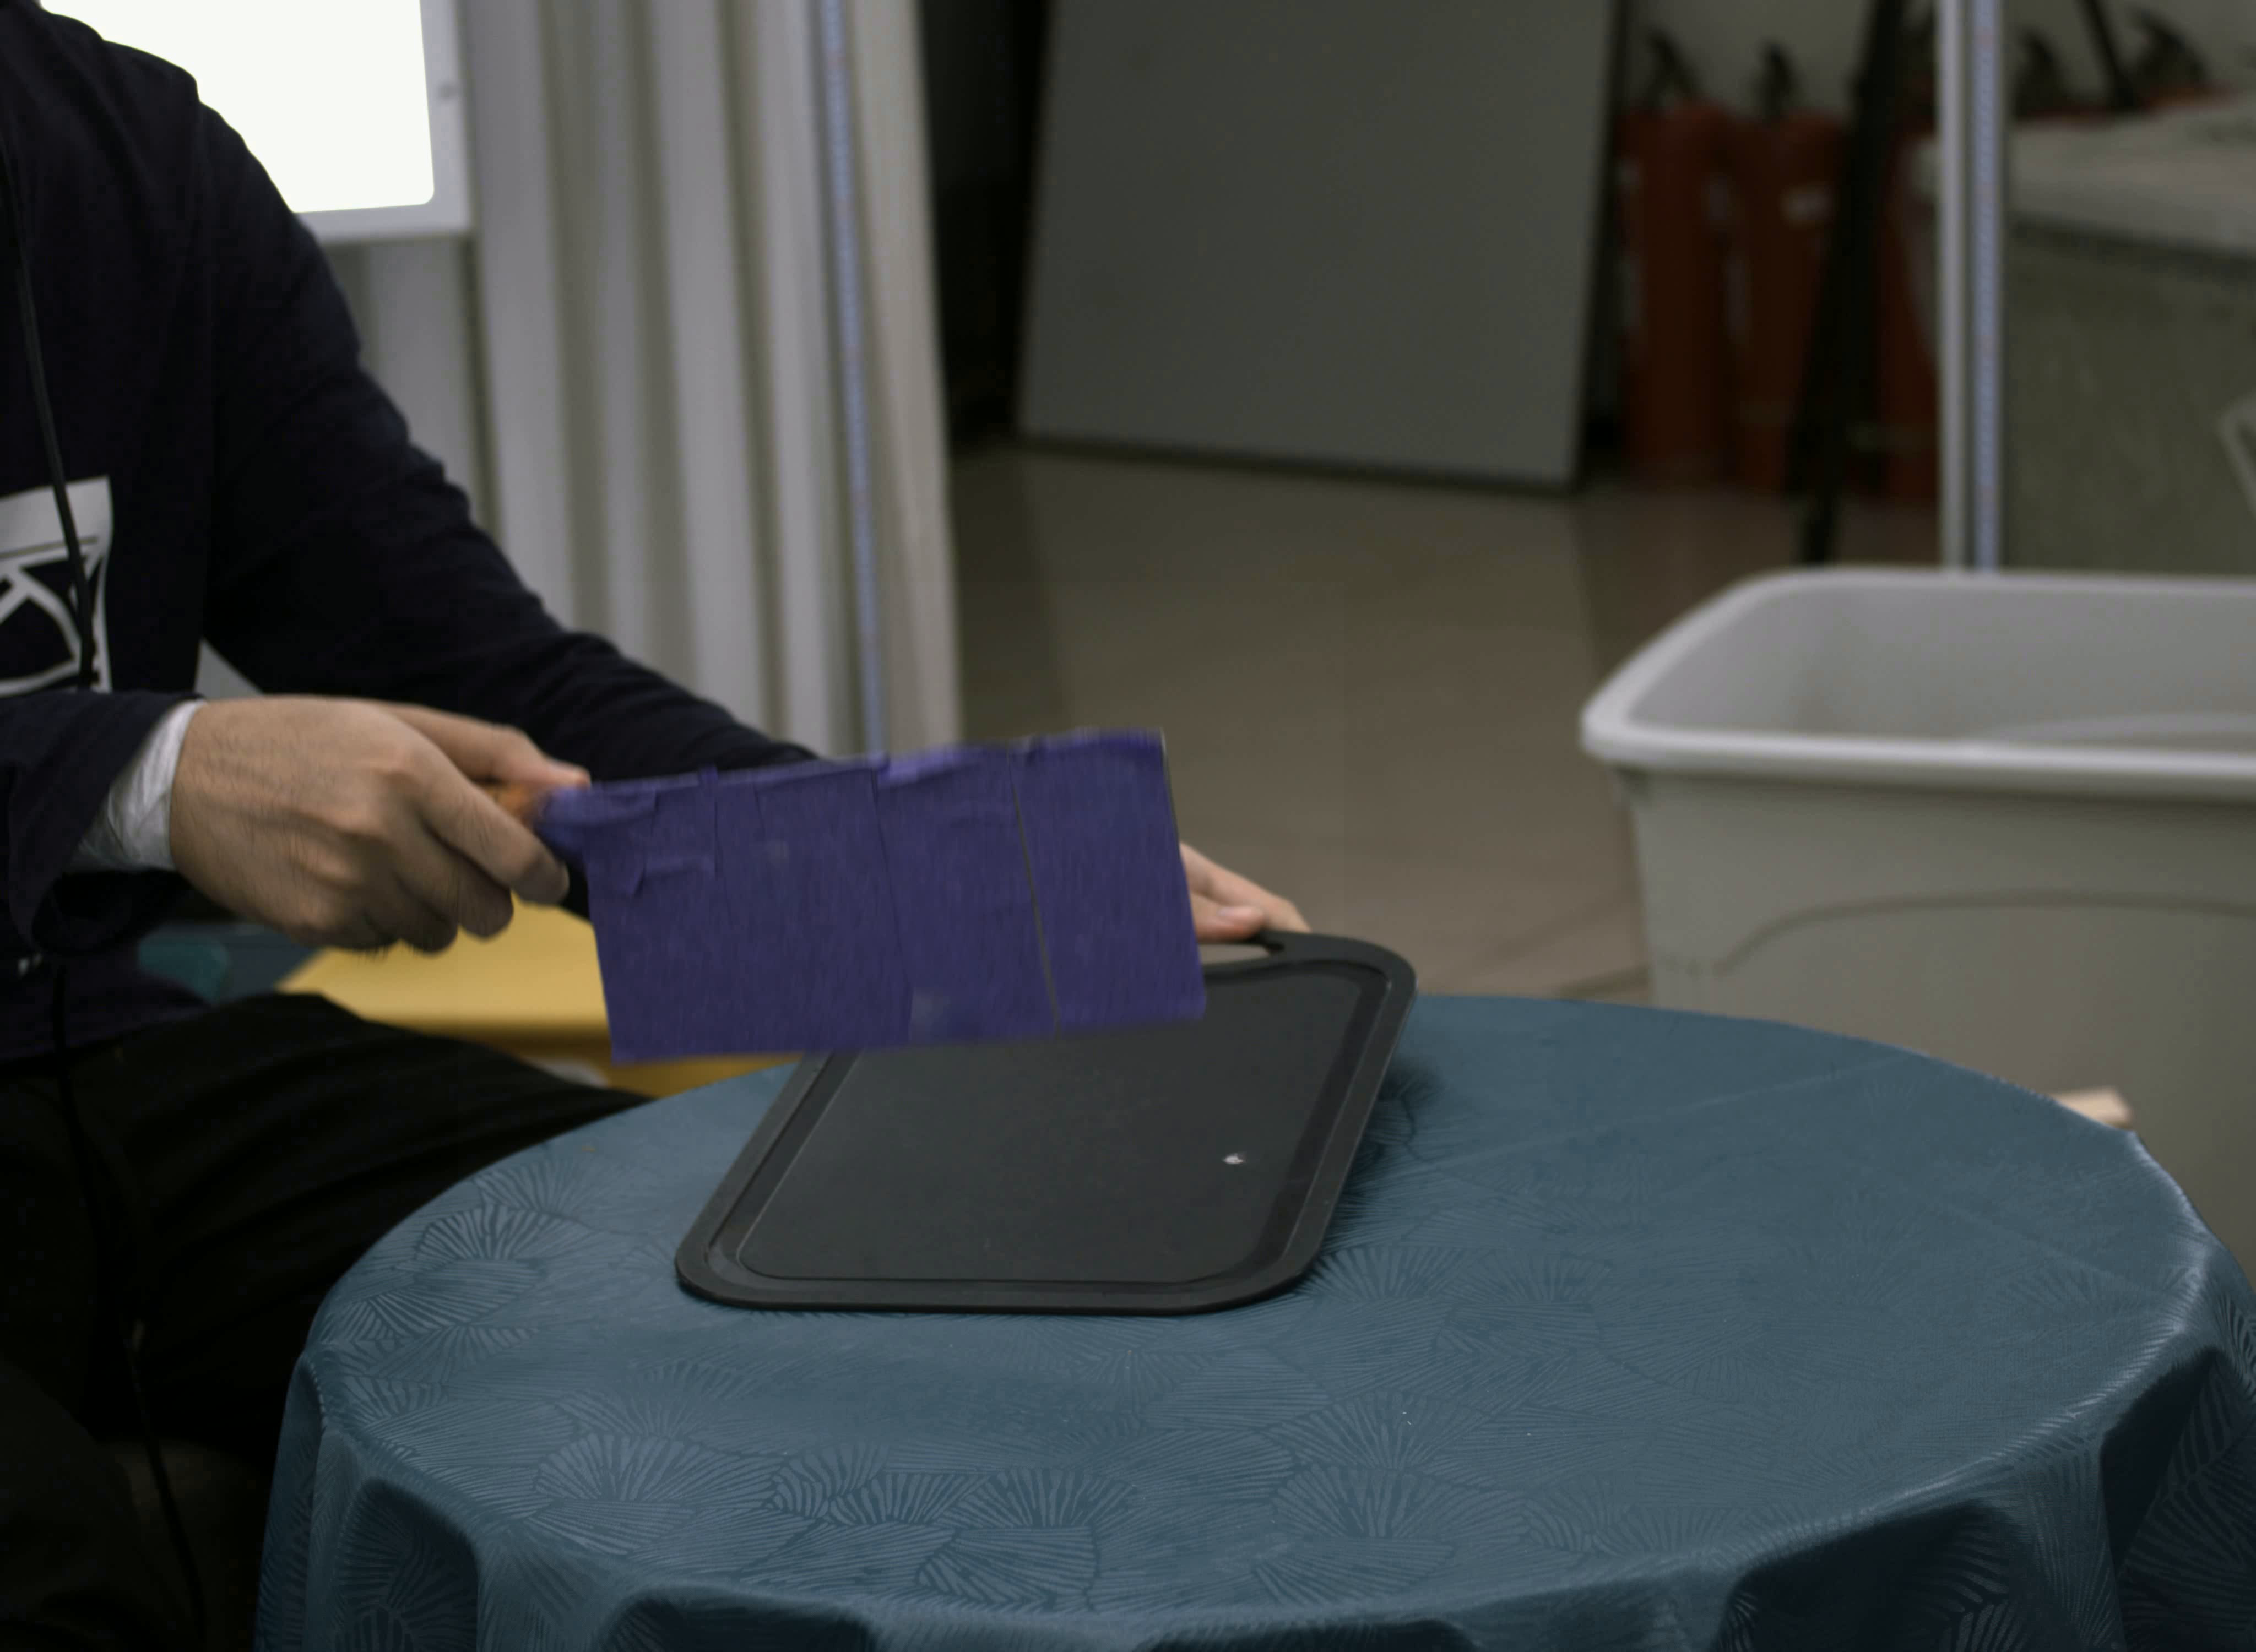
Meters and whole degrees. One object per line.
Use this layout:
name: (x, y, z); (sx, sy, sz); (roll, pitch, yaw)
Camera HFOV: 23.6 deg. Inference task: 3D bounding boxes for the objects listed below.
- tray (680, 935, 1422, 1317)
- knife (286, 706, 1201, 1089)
tray: (-0.019, 0.094, 1.812); (0.210, 0.010, 0.324); (-1, 20, 14)
knife: (-0.123, 0.032, 1.668); (0.316, 0.105, 0.031); (-7, 1, 29)
